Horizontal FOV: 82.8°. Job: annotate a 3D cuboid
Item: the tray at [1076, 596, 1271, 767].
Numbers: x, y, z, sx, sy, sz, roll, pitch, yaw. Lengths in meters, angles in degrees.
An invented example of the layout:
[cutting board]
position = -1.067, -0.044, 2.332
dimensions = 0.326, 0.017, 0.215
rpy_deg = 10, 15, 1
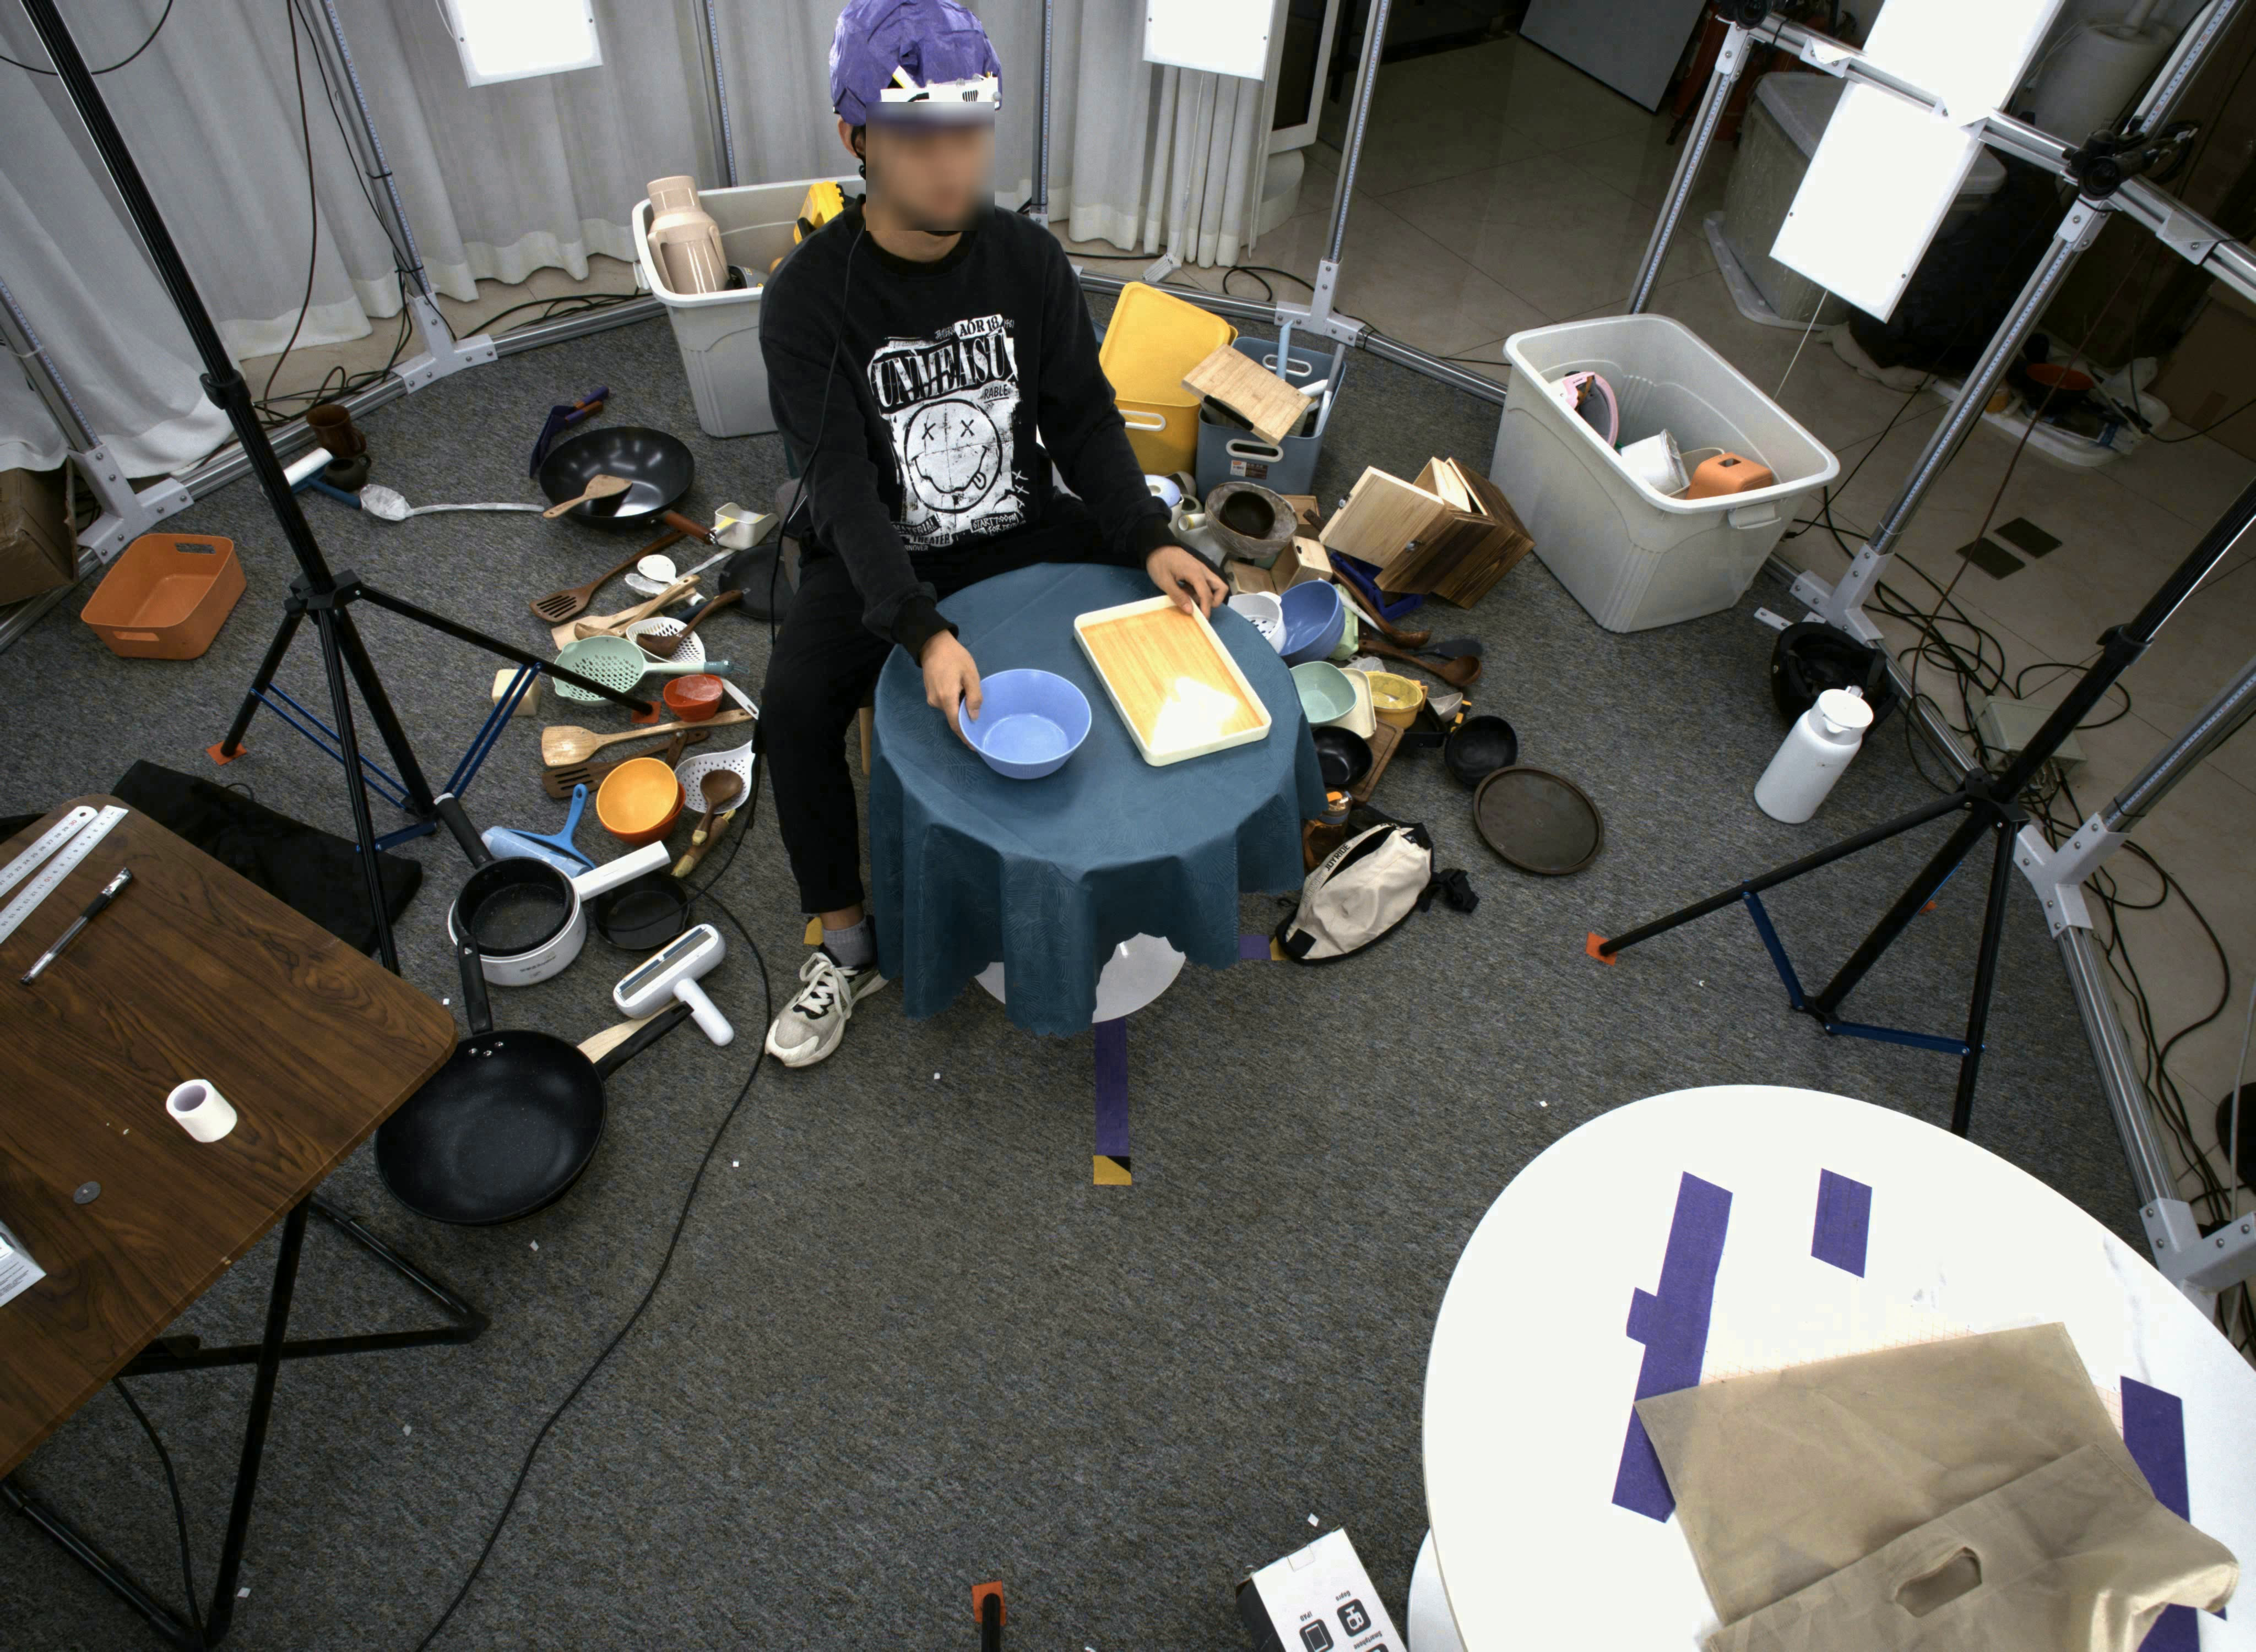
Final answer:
[tray]
position = 0.061, -0.216, 1.860
dimensions = 0.192, 0.027, 0.307
rpy_deg = -15, 52, -17

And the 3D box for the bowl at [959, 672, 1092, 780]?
[bowl]
position = -0.139, -0.127, 1.739
dimensions = 0.176, 0.068, 0.180
rpy_deg = 2, 49, -3
